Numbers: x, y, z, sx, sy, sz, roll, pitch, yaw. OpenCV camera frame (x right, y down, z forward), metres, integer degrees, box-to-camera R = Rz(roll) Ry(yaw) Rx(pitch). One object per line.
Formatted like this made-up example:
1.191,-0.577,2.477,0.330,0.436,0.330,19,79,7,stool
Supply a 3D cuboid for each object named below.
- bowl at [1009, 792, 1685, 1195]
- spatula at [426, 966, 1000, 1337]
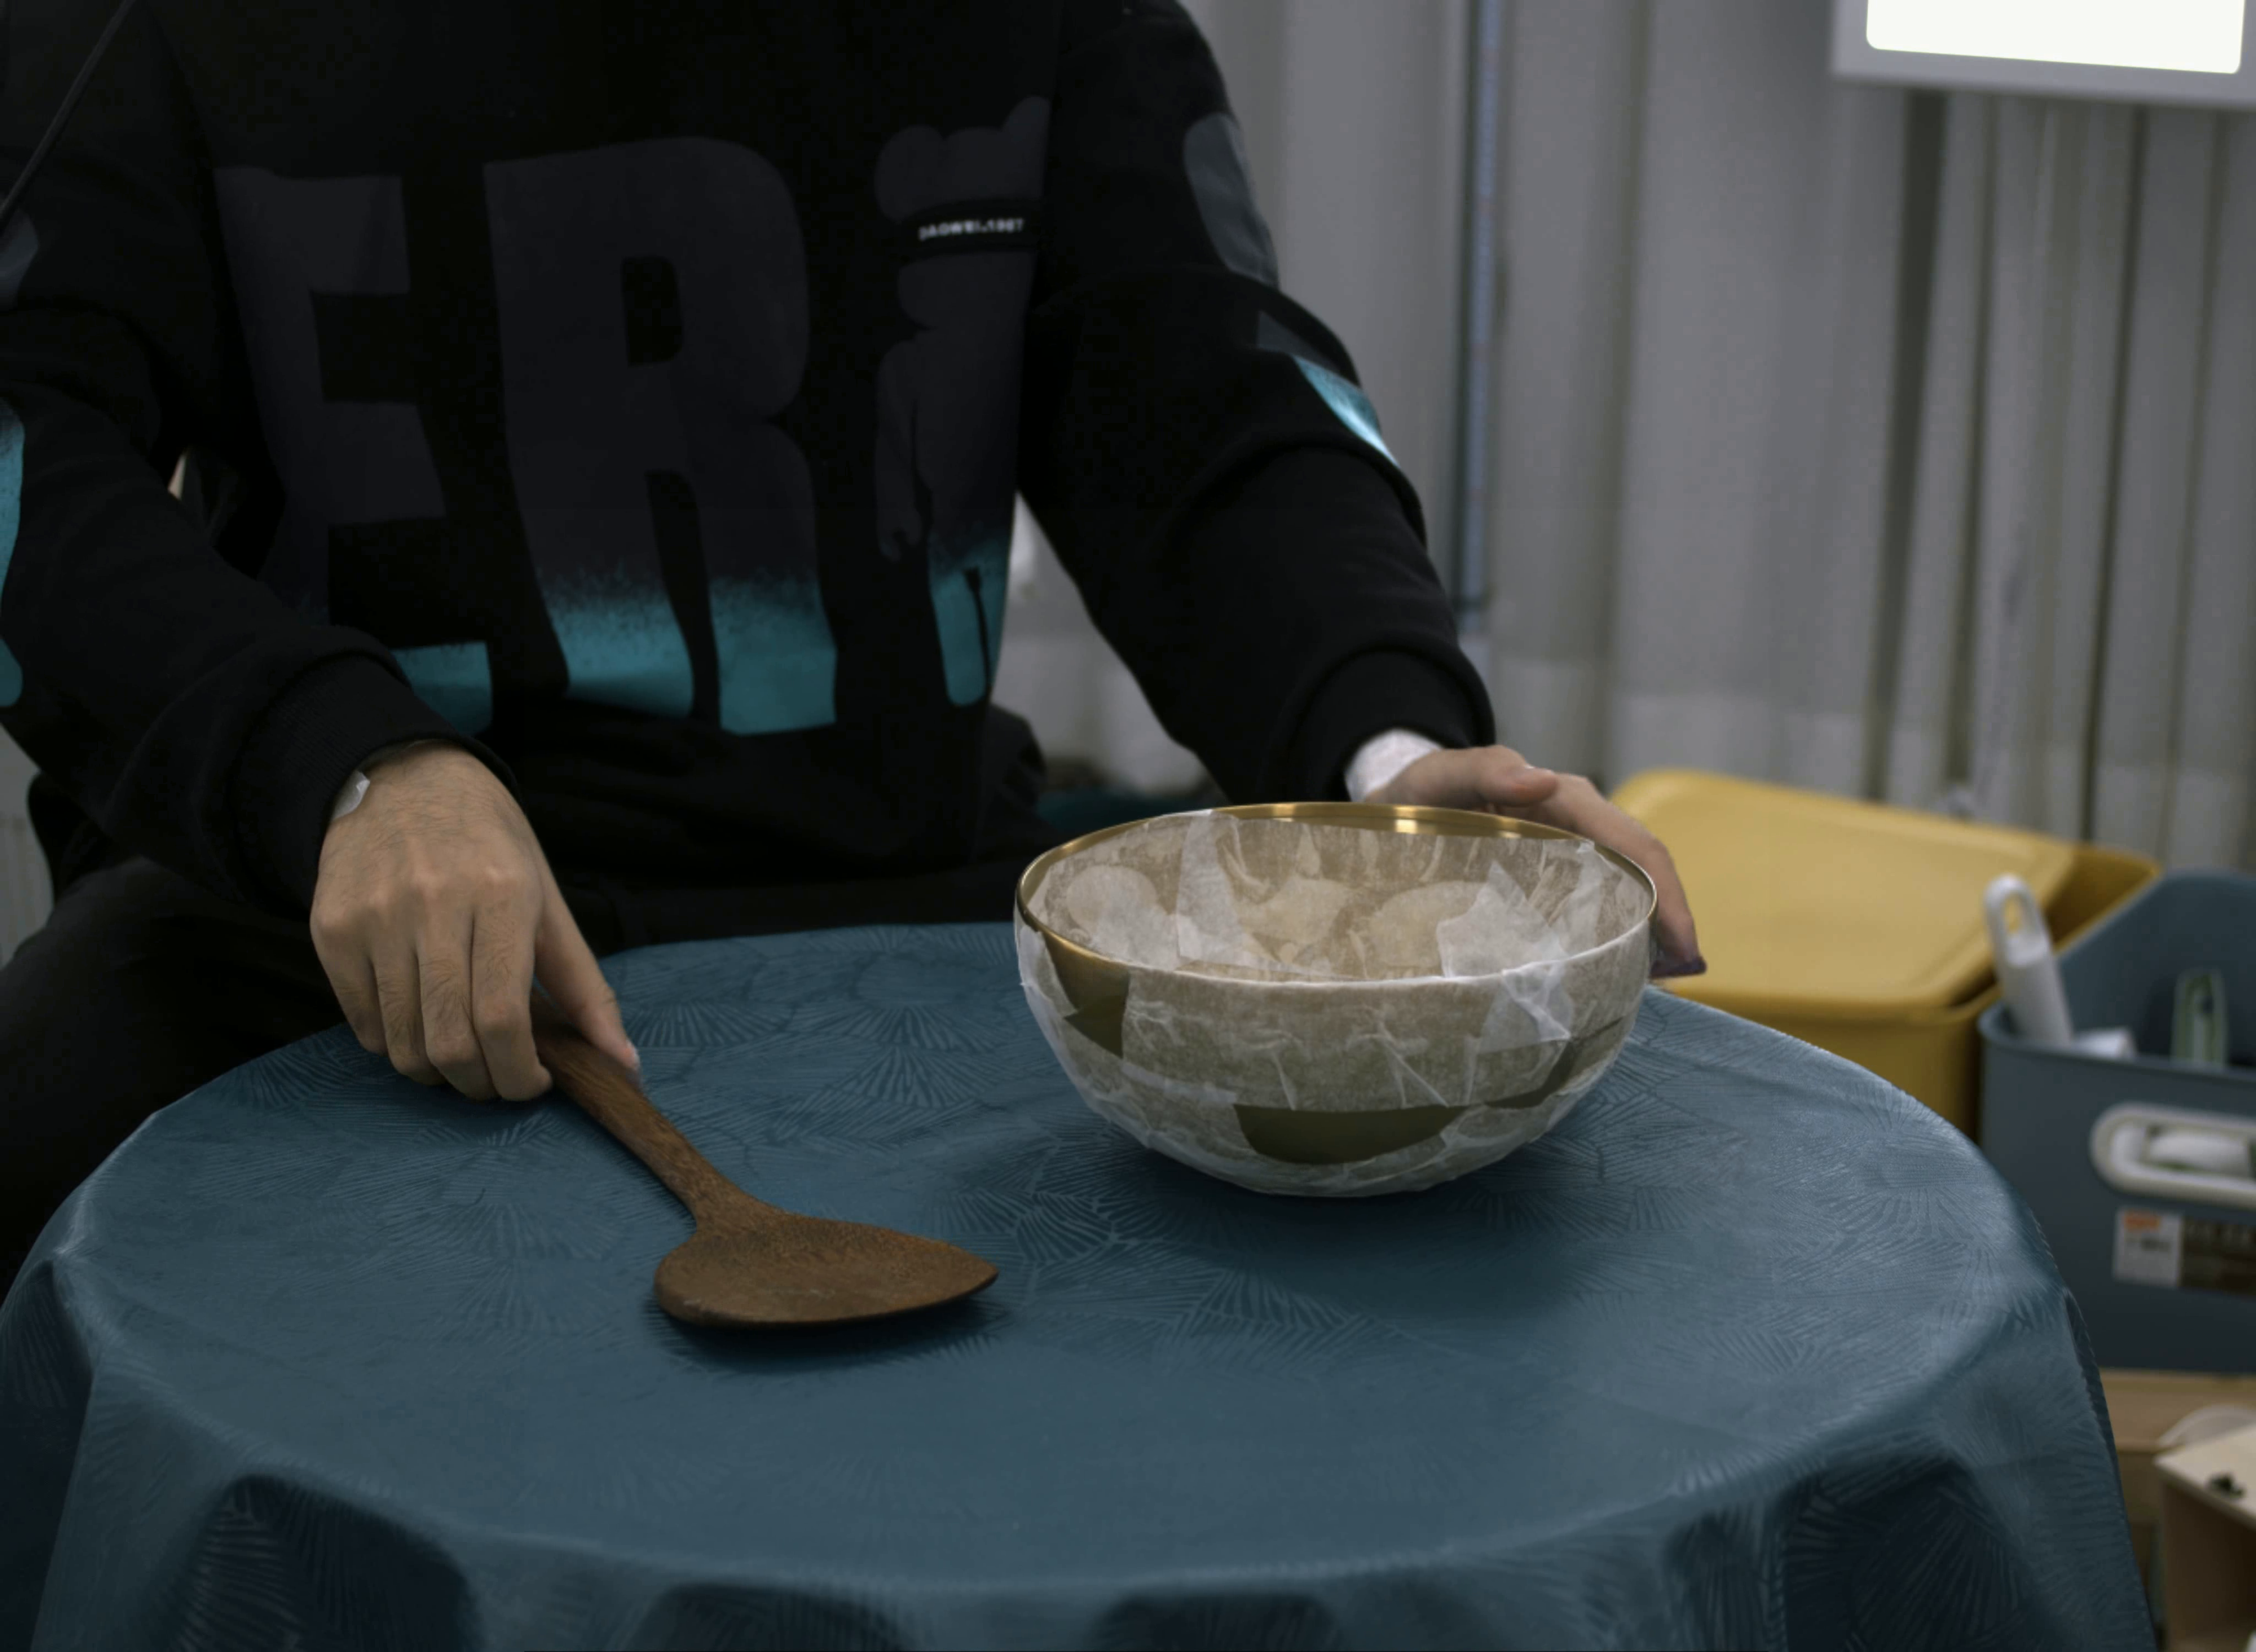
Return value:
0.067,0.060,1.641,0.214,0.095,0.213,-1,16,1,bowl
-0.153,0.096,1.653,0.096,0.016,0.381,-6,17,-25,spatula
